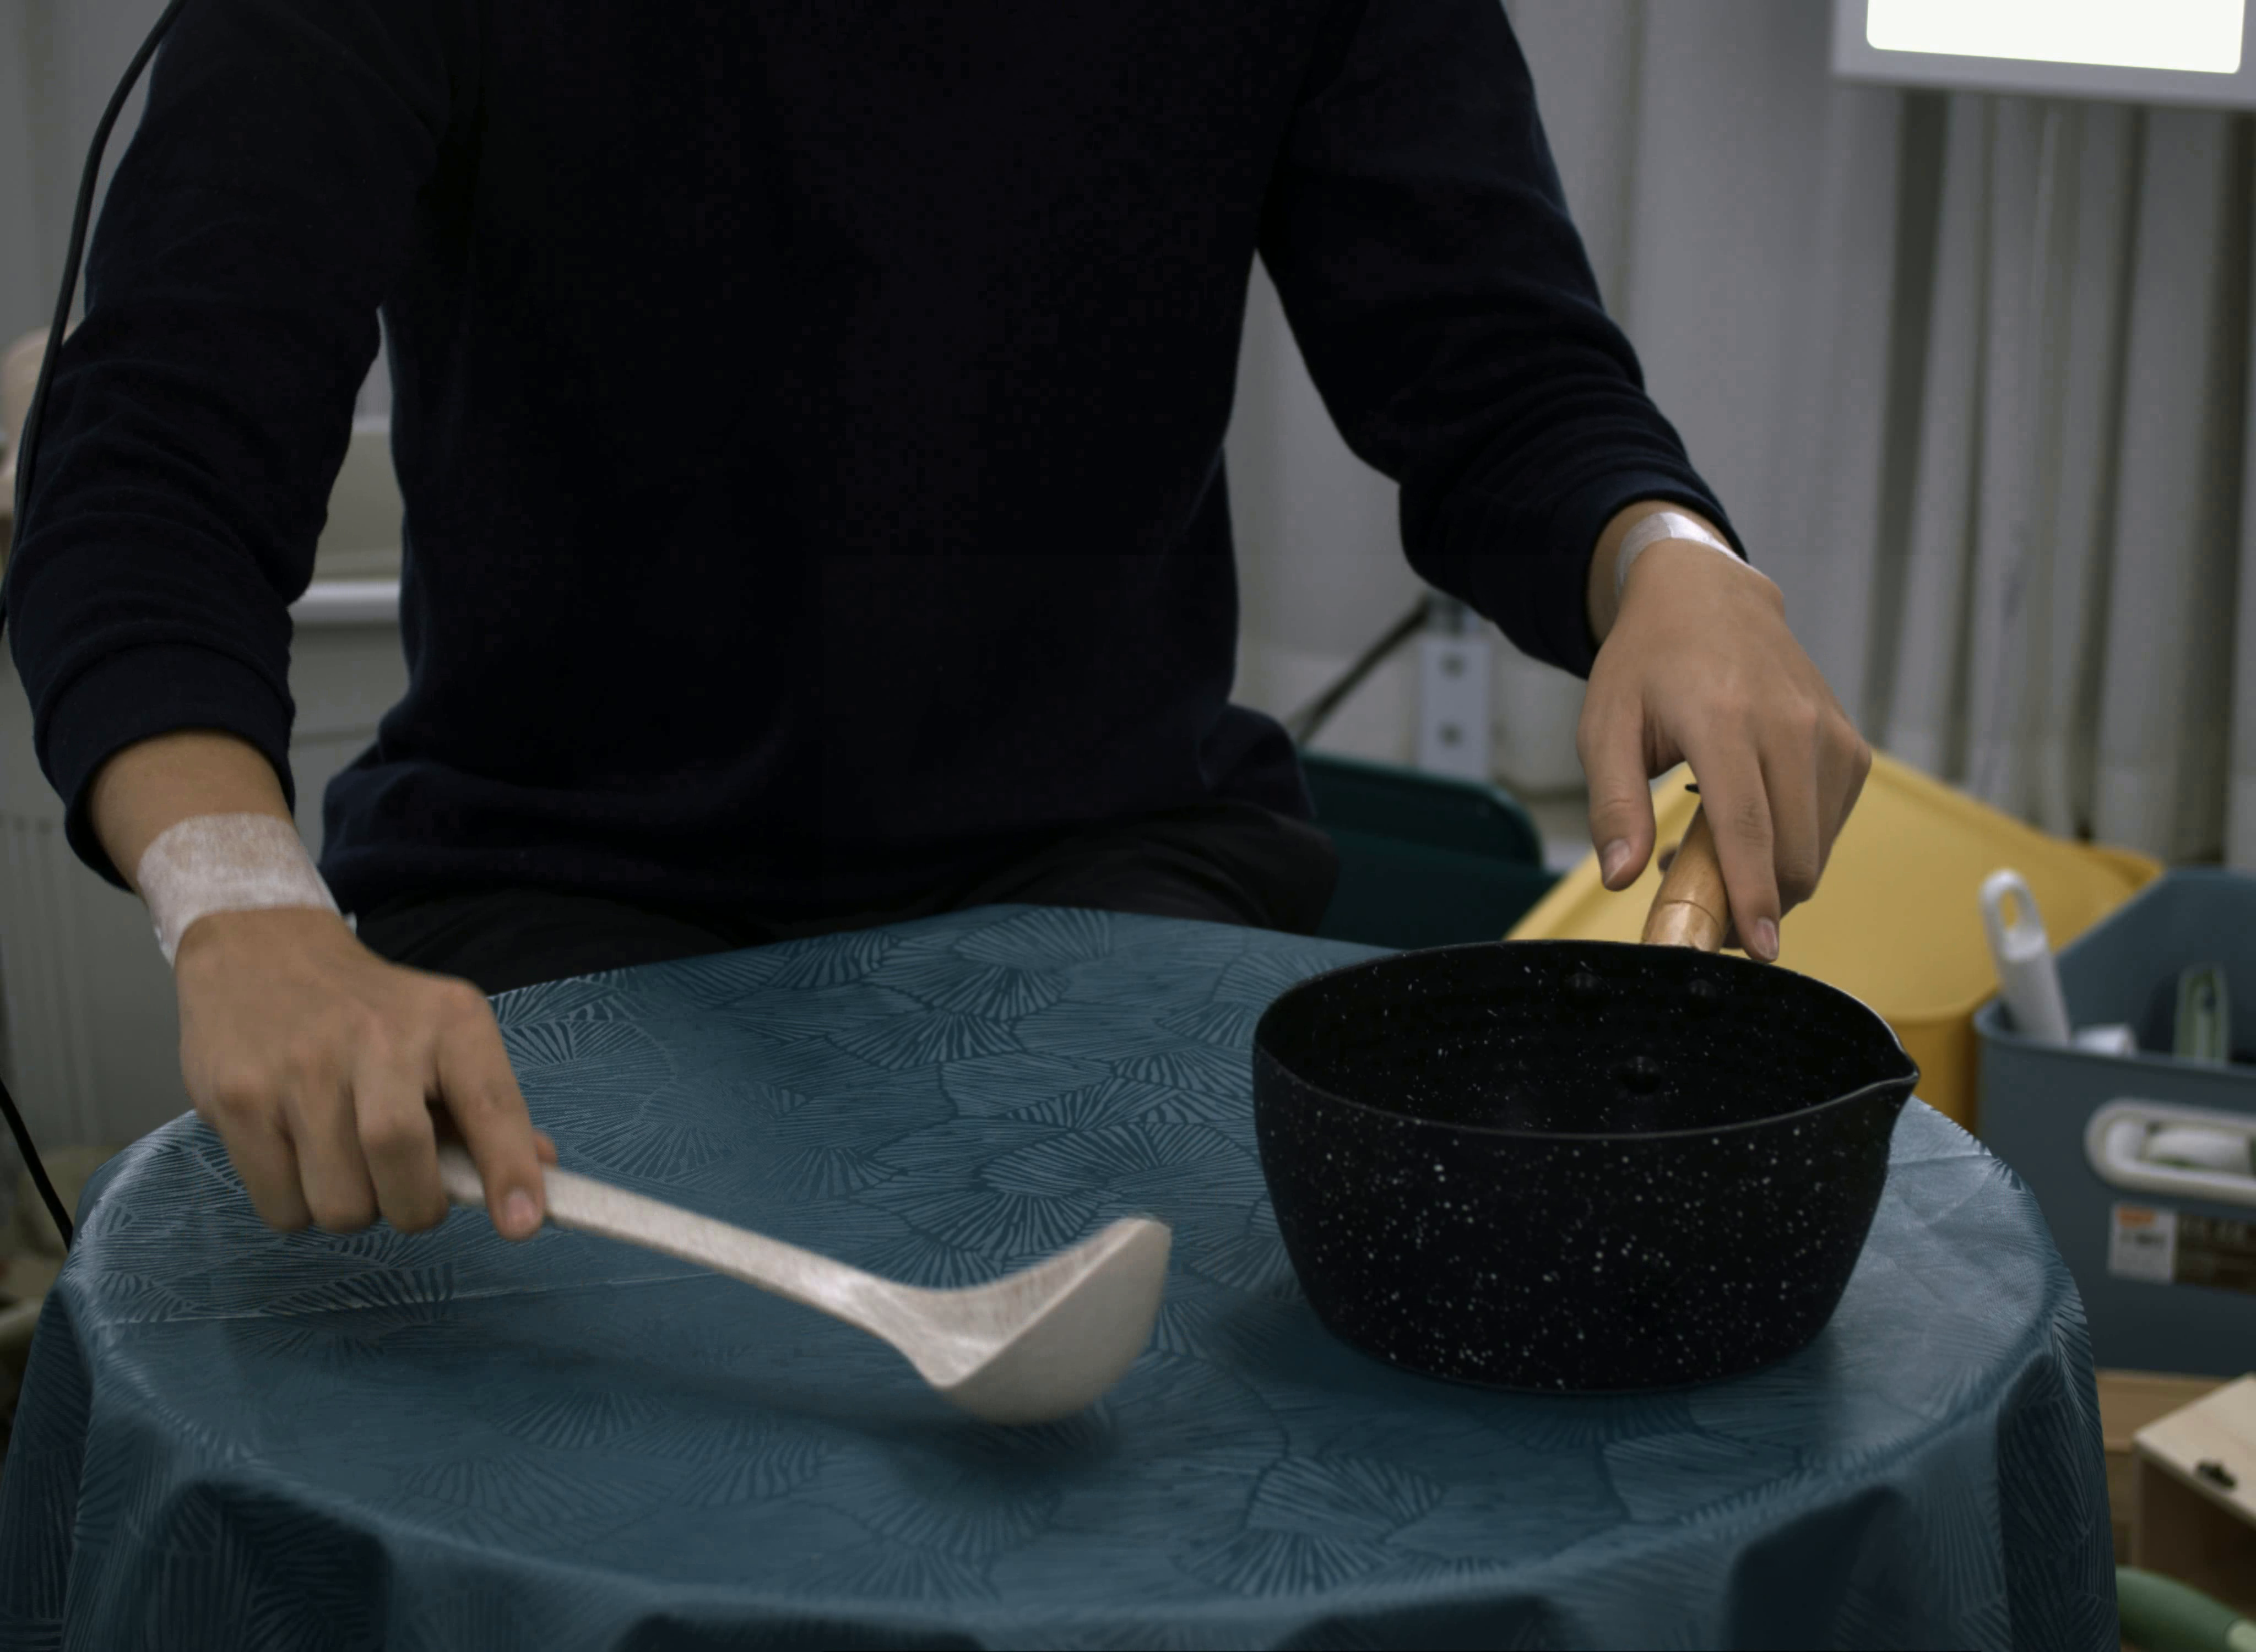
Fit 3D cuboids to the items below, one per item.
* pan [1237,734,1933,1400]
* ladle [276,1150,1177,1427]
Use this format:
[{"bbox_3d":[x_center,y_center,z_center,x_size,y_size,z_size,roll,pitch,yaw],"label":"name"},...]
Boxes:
[{"bbox_3d":[0.151,0.067,1.587,0.206,0.109,0.342,4,17,17],"label":"pan"},{"bbox_3d":[-0.117,0.101,1.456,0.272,0.070,0.089,15,27,19],"label":"ladle"}]
